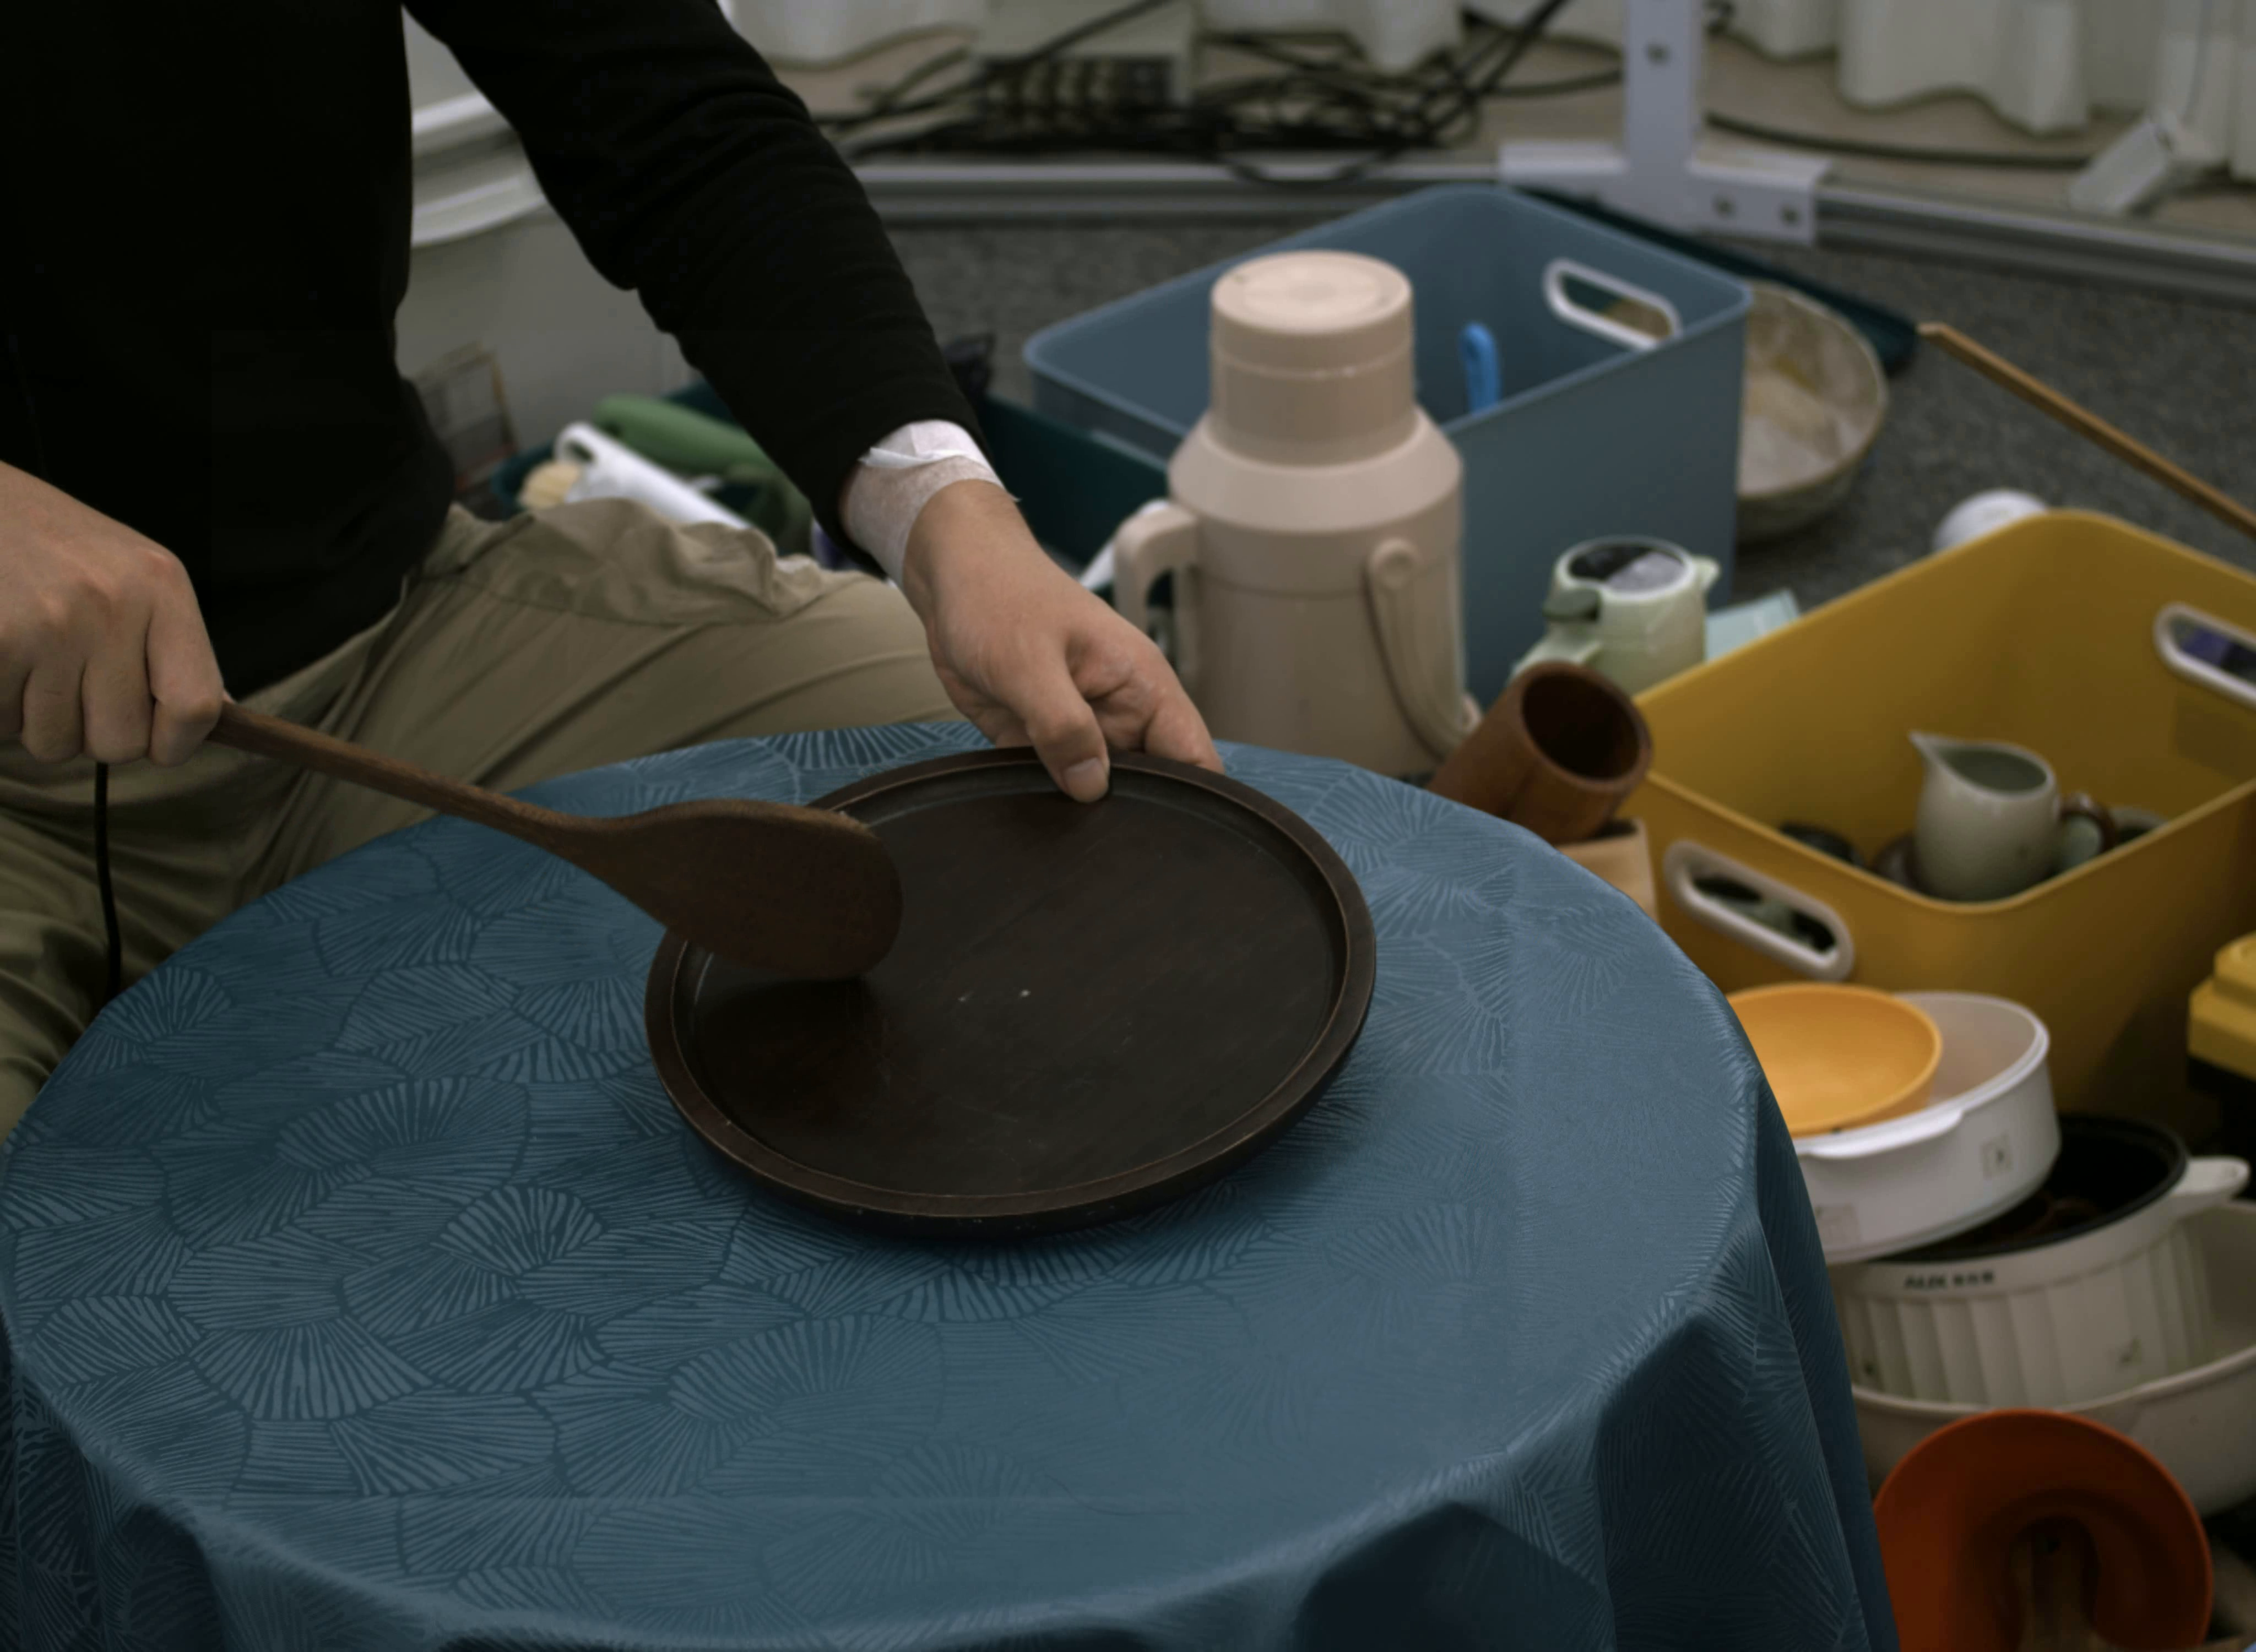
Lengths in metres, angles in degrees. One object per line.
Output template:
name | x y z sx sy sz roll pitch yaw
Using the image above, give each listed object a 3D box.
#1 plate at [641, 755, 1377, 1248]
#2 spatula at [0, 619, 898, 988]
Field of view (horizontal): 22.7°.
plate | -0.040 0.058 1.923 0.253 0.028 0.259 -3 38 3
spatula | -0.262 -0.021 1.906 0.384 0.094 0.016 17 52 4
